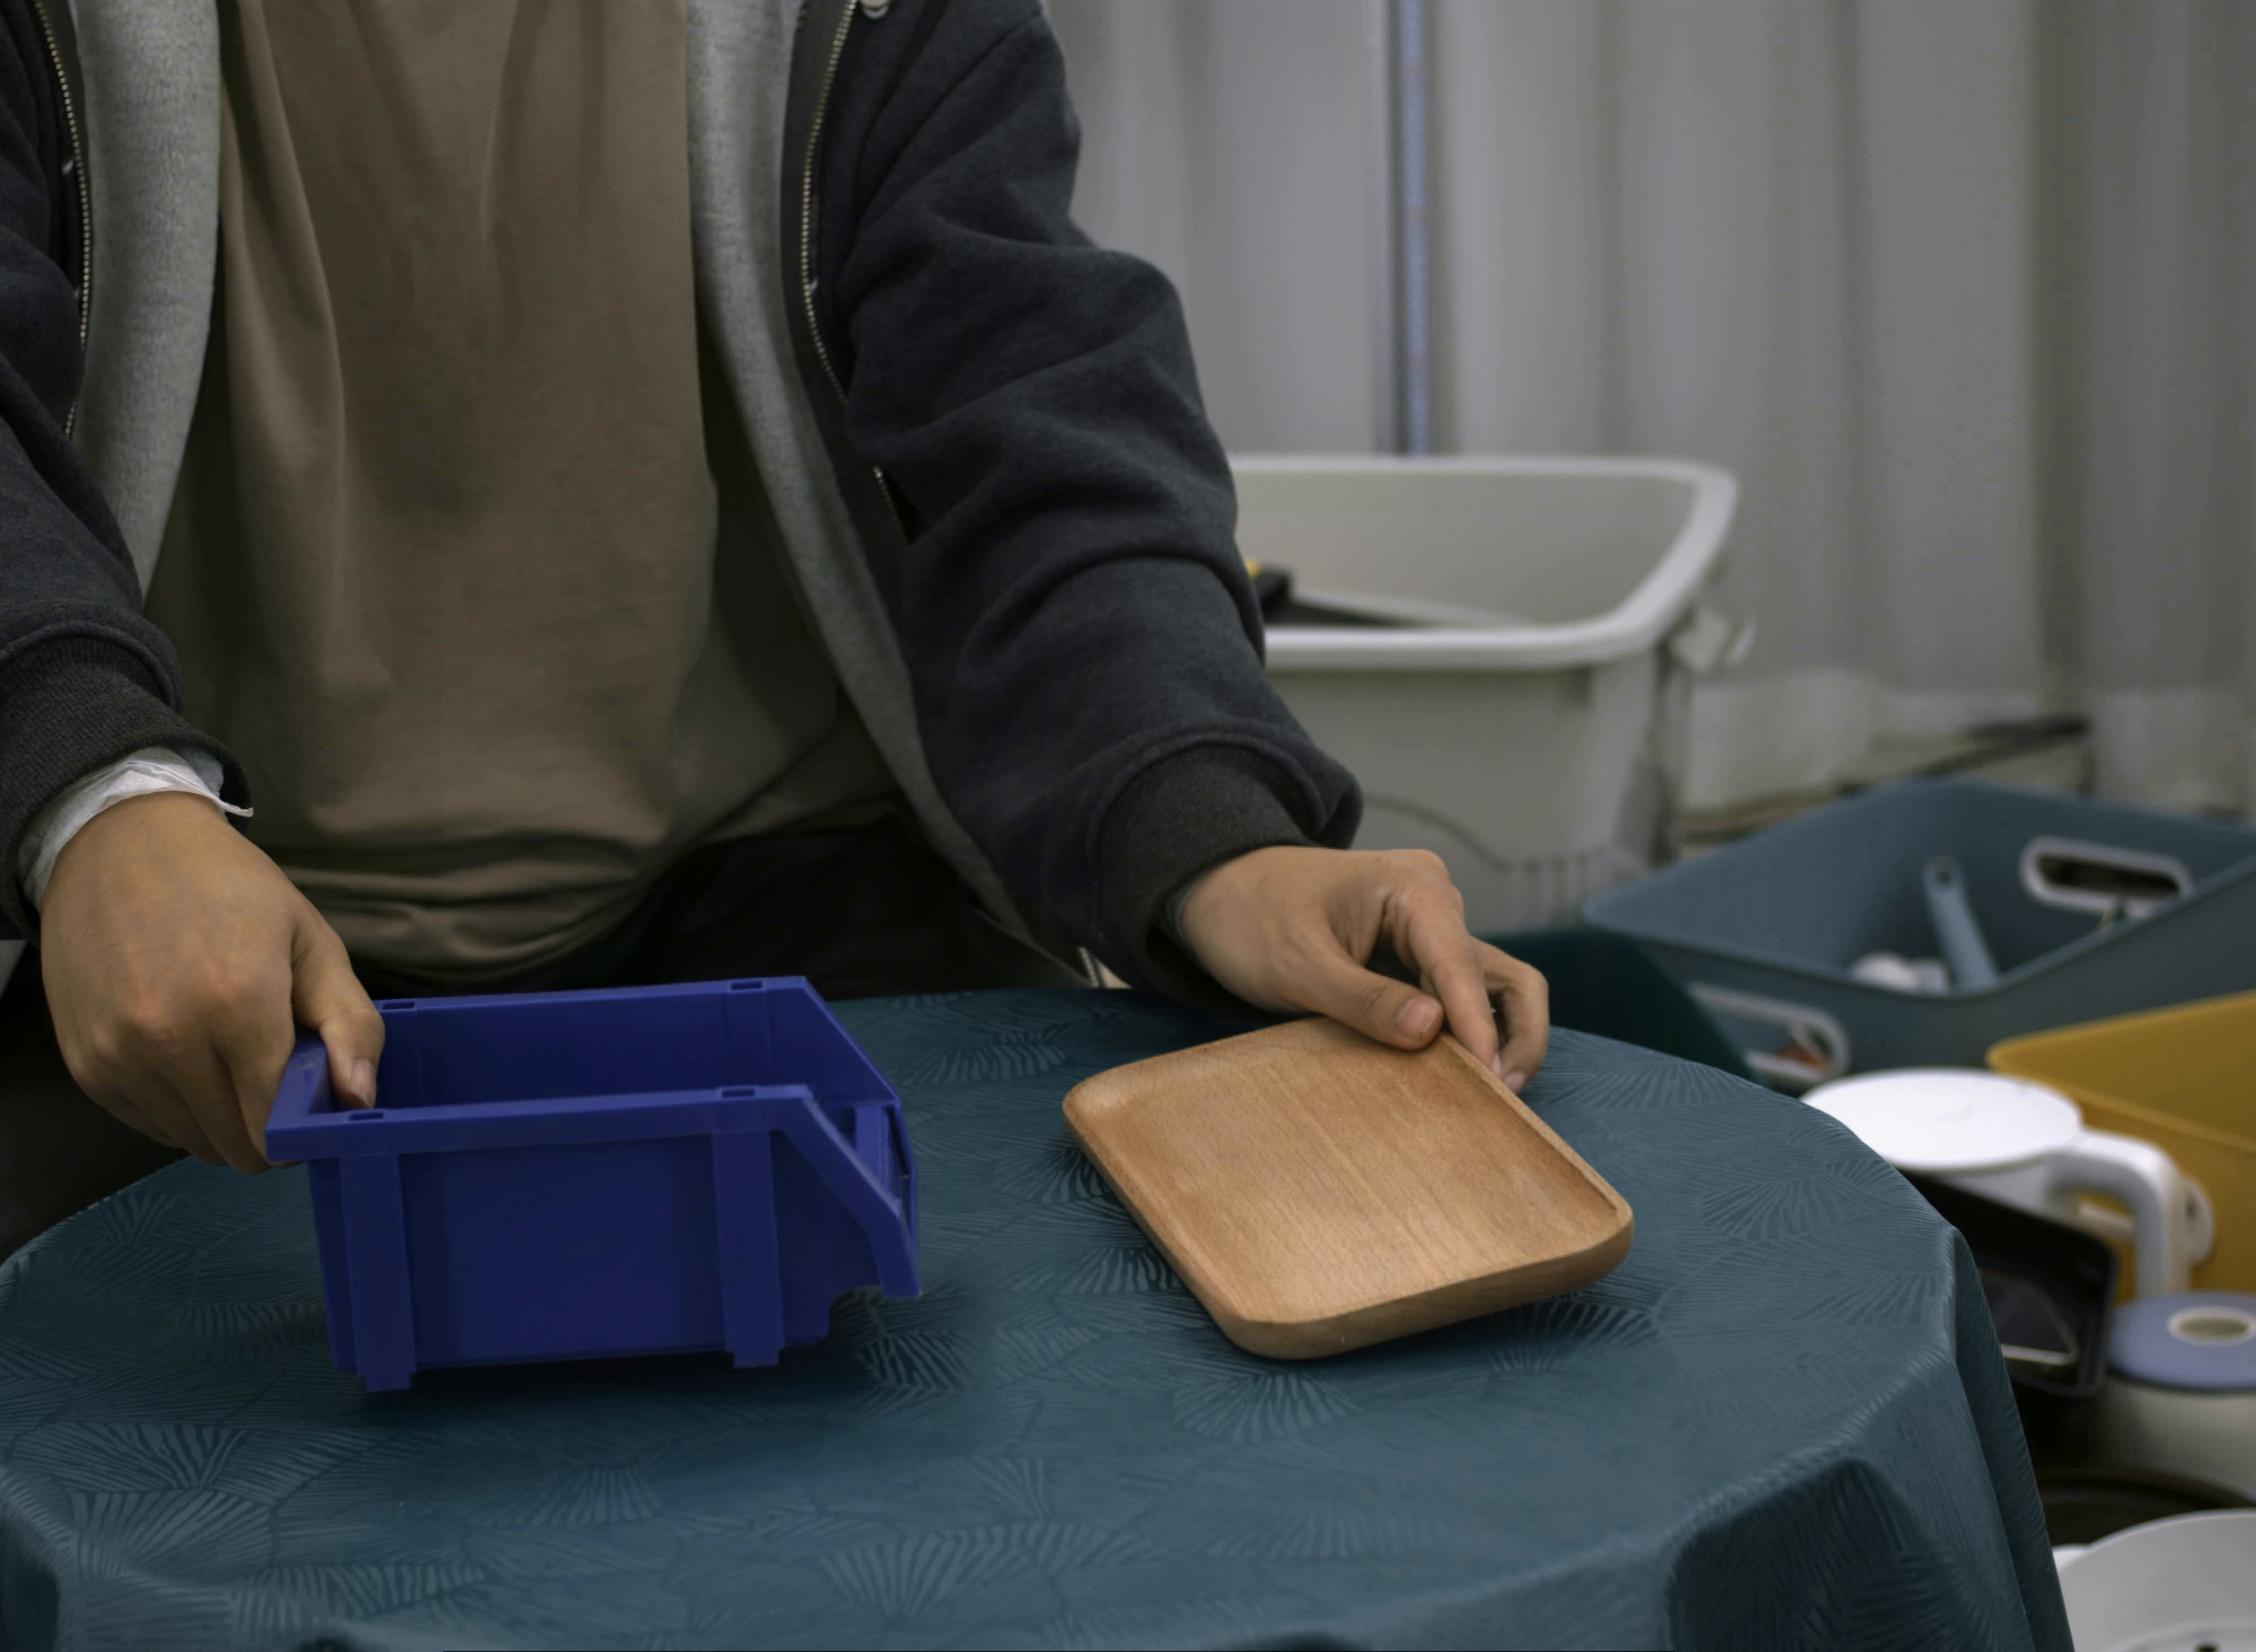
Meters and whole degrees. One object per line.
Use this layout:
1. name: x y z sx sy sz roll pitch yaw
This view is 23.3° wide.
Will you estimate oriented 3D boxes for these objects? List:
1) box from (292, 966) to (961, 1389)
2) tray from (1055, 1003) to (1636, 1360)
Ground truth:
1. box: -0.141 0.099 1.593 0.179 0.081 0.125 -6 14 2
2. tray: 0.063 0.106 1.674 0.130 0.023 0.252 -11 16 -11
